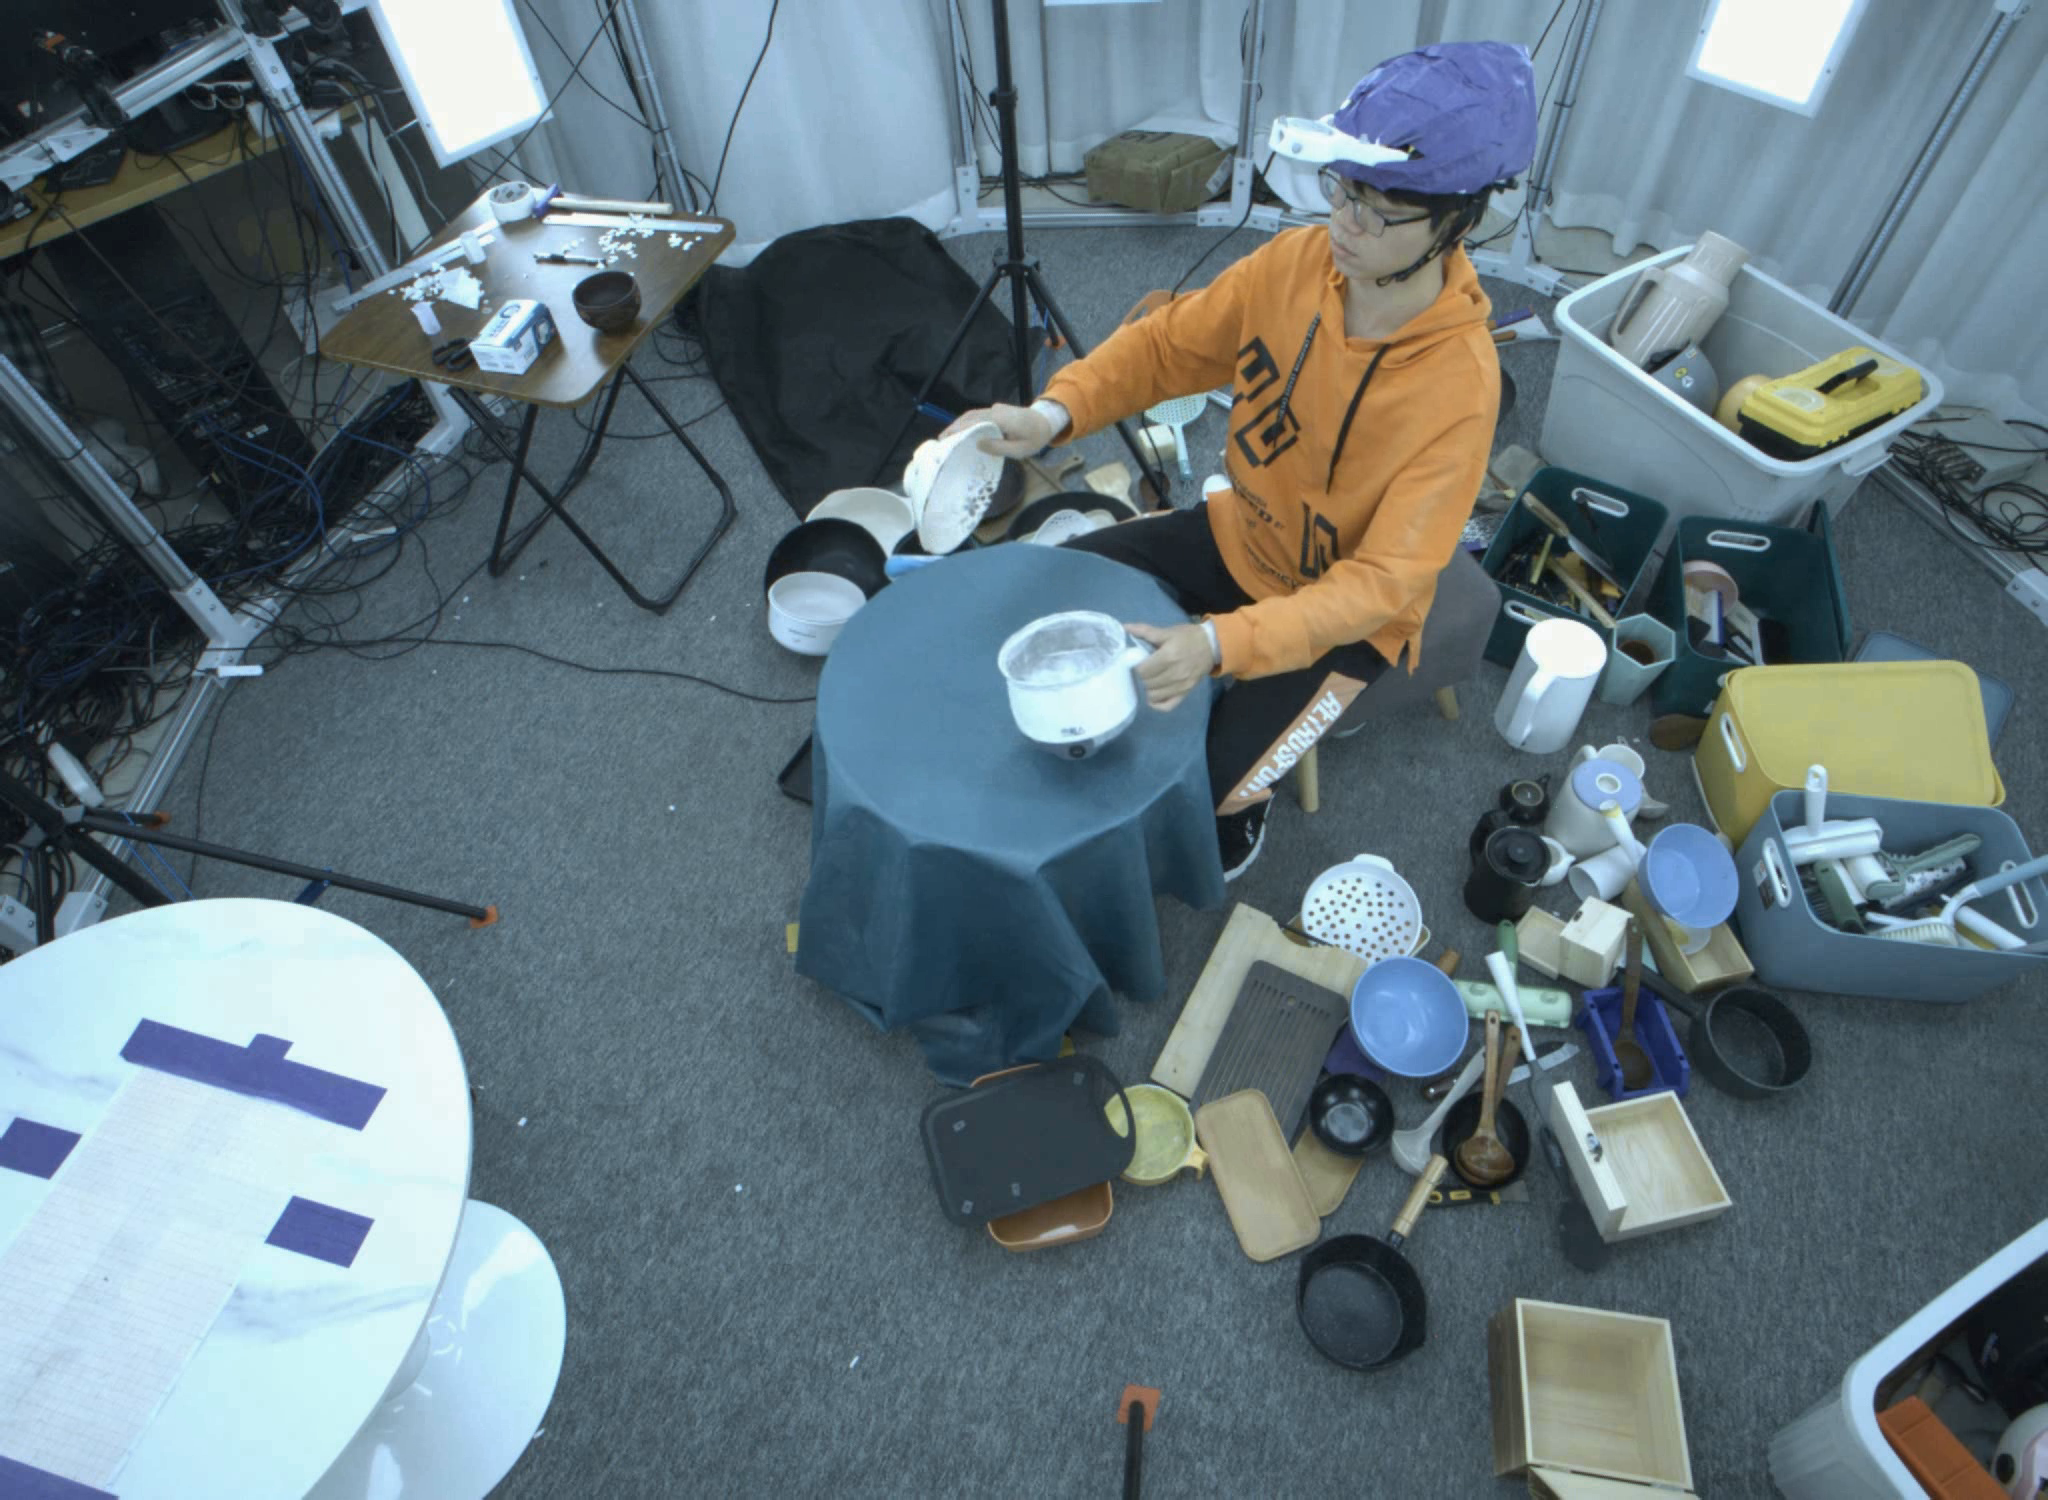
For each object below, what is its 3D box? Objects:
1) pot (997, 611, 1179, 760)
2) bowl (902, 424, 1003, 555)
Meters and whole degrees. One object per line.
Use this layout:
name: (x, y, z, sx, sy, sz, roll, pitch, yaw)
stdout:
pot: (0.091, -0.095, 1.696, 0.232, 0.139, 0.177, -10, 38, 9)
bowl: (-0.118, -0.383, 1.722, 0.077, 0.205, 0.205, 29, 61, 16)
